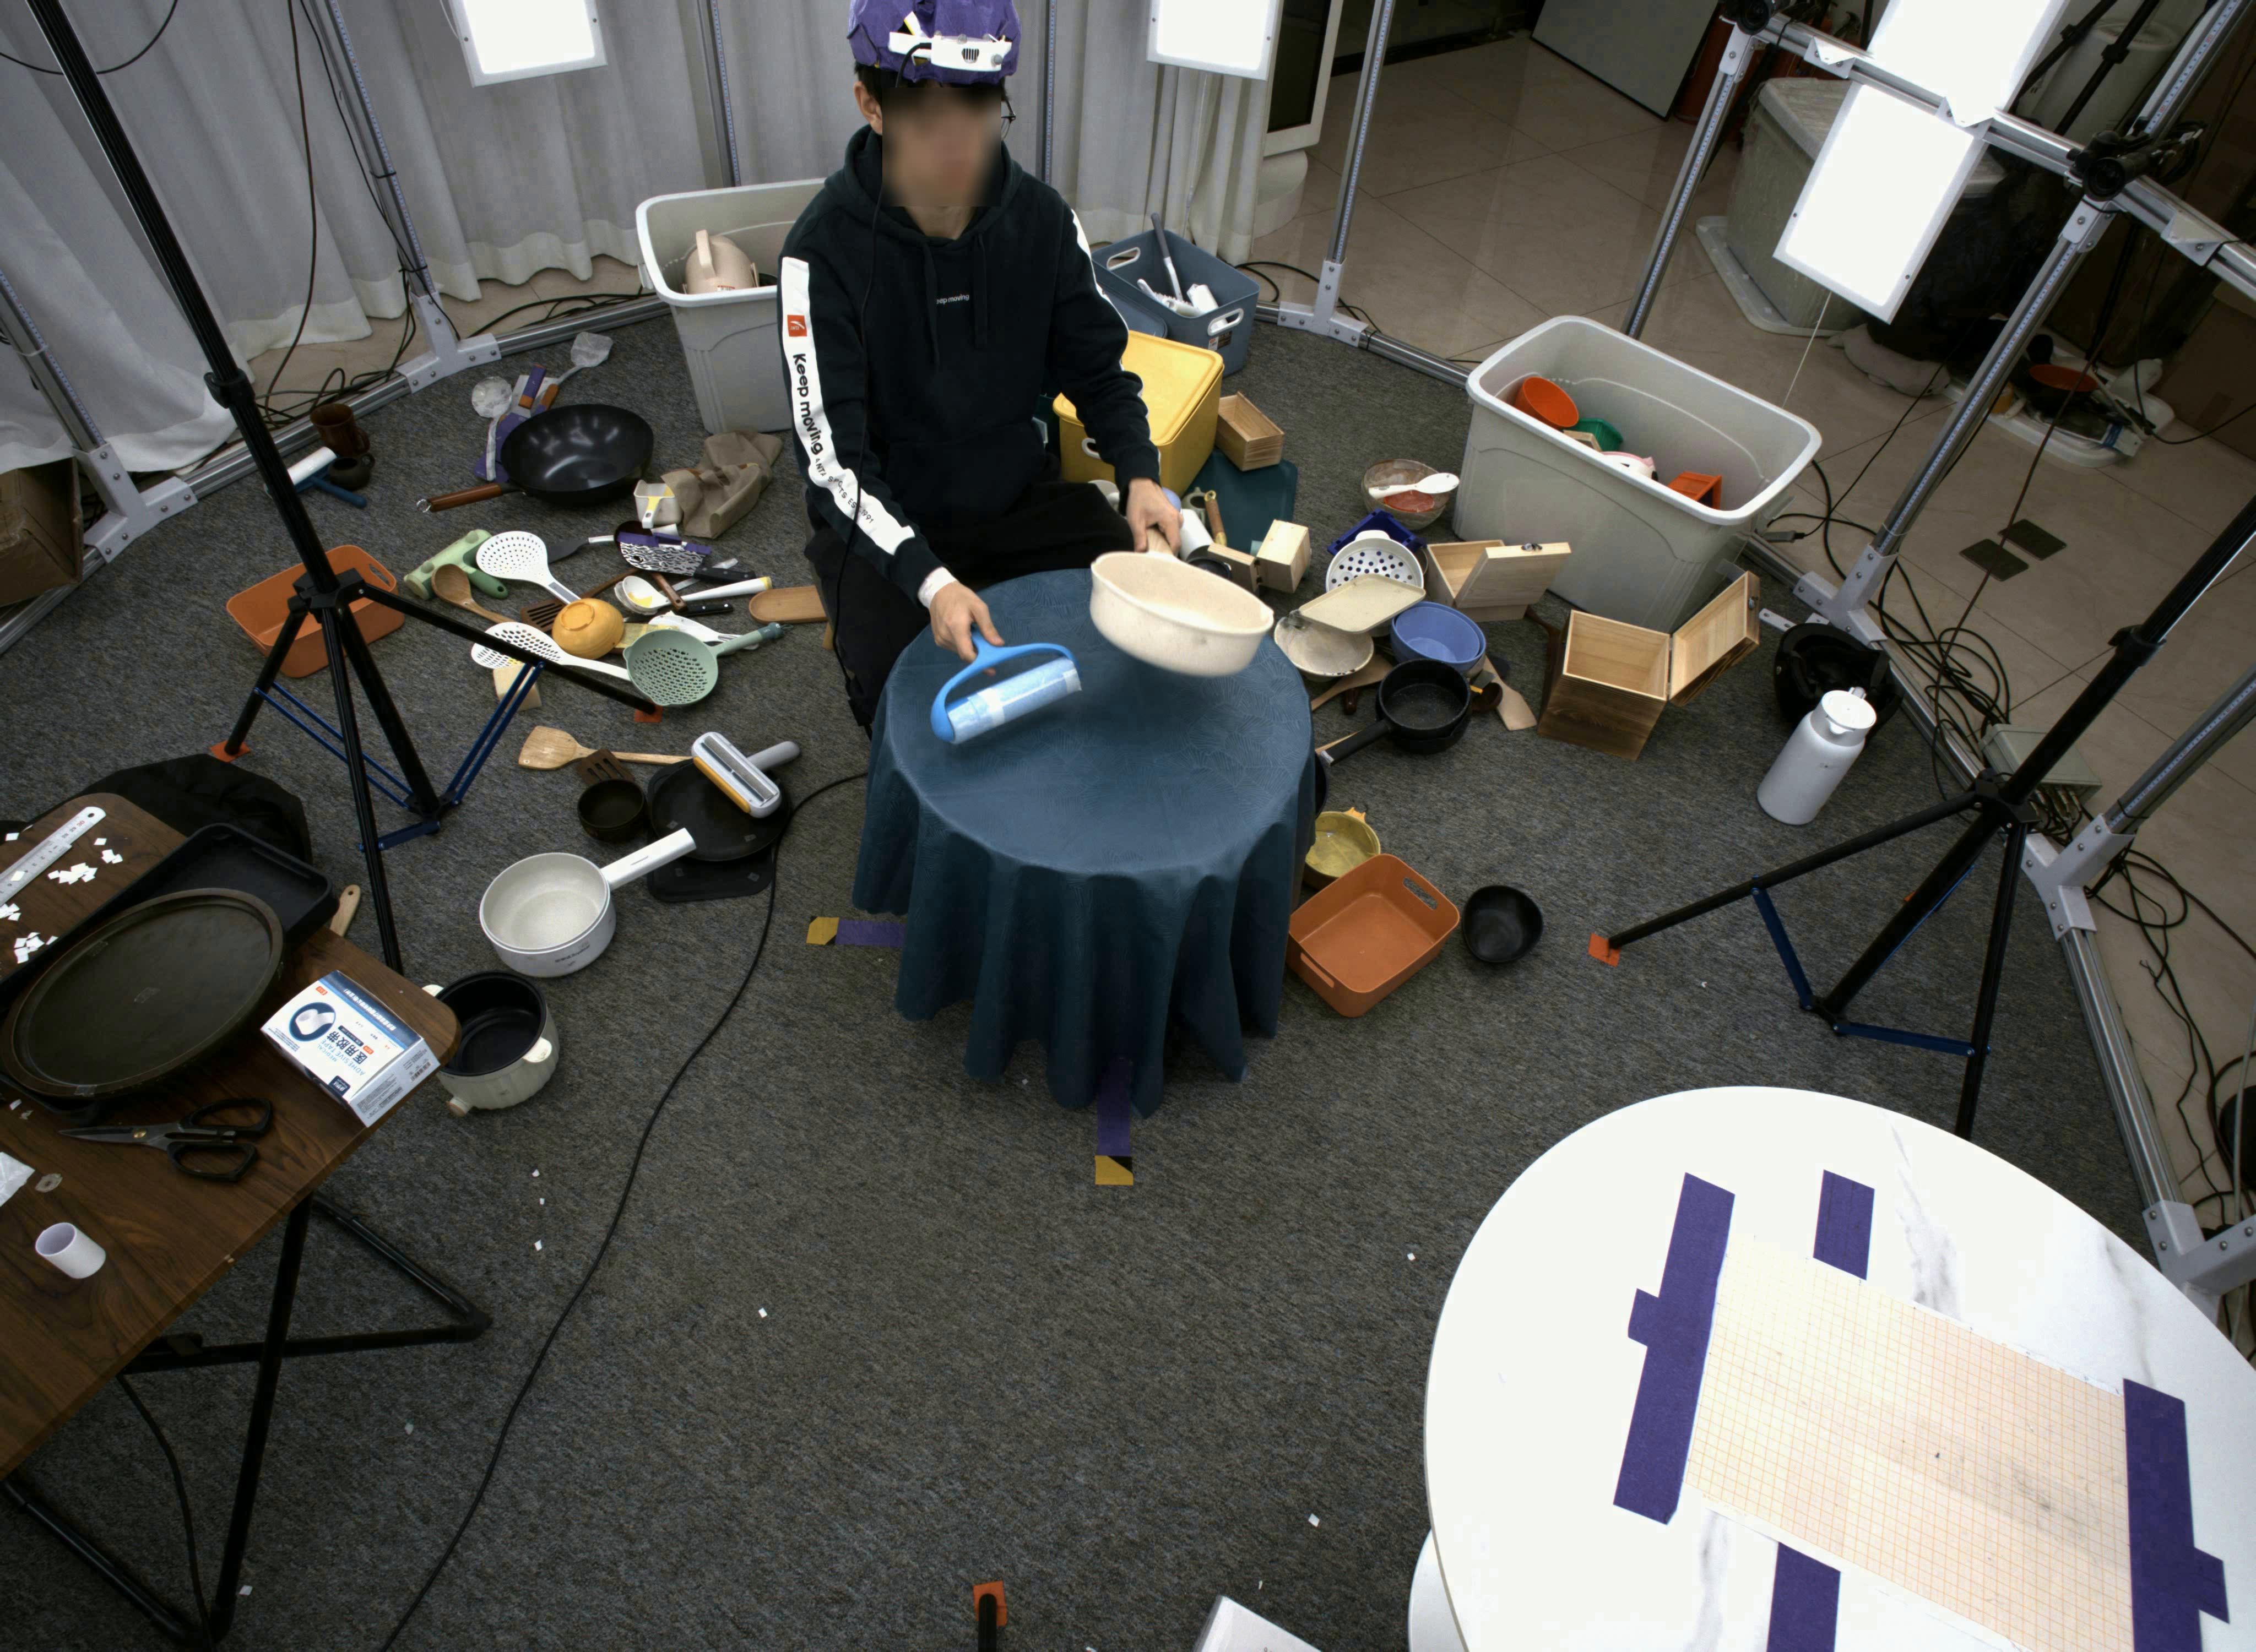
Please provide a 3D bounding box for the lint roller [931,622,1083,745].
[{"bbox_3d":[-0.192,-0.218,1.745,0.230,0.067,0.182,-29,73,-23],"label":"lint roller"}]

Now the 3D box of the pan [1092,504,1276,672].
[{"bbox_3d":[0.050,-0.339,1.808,0.262,0.100,0.444,8,28,-18],"label":"pan"}]
